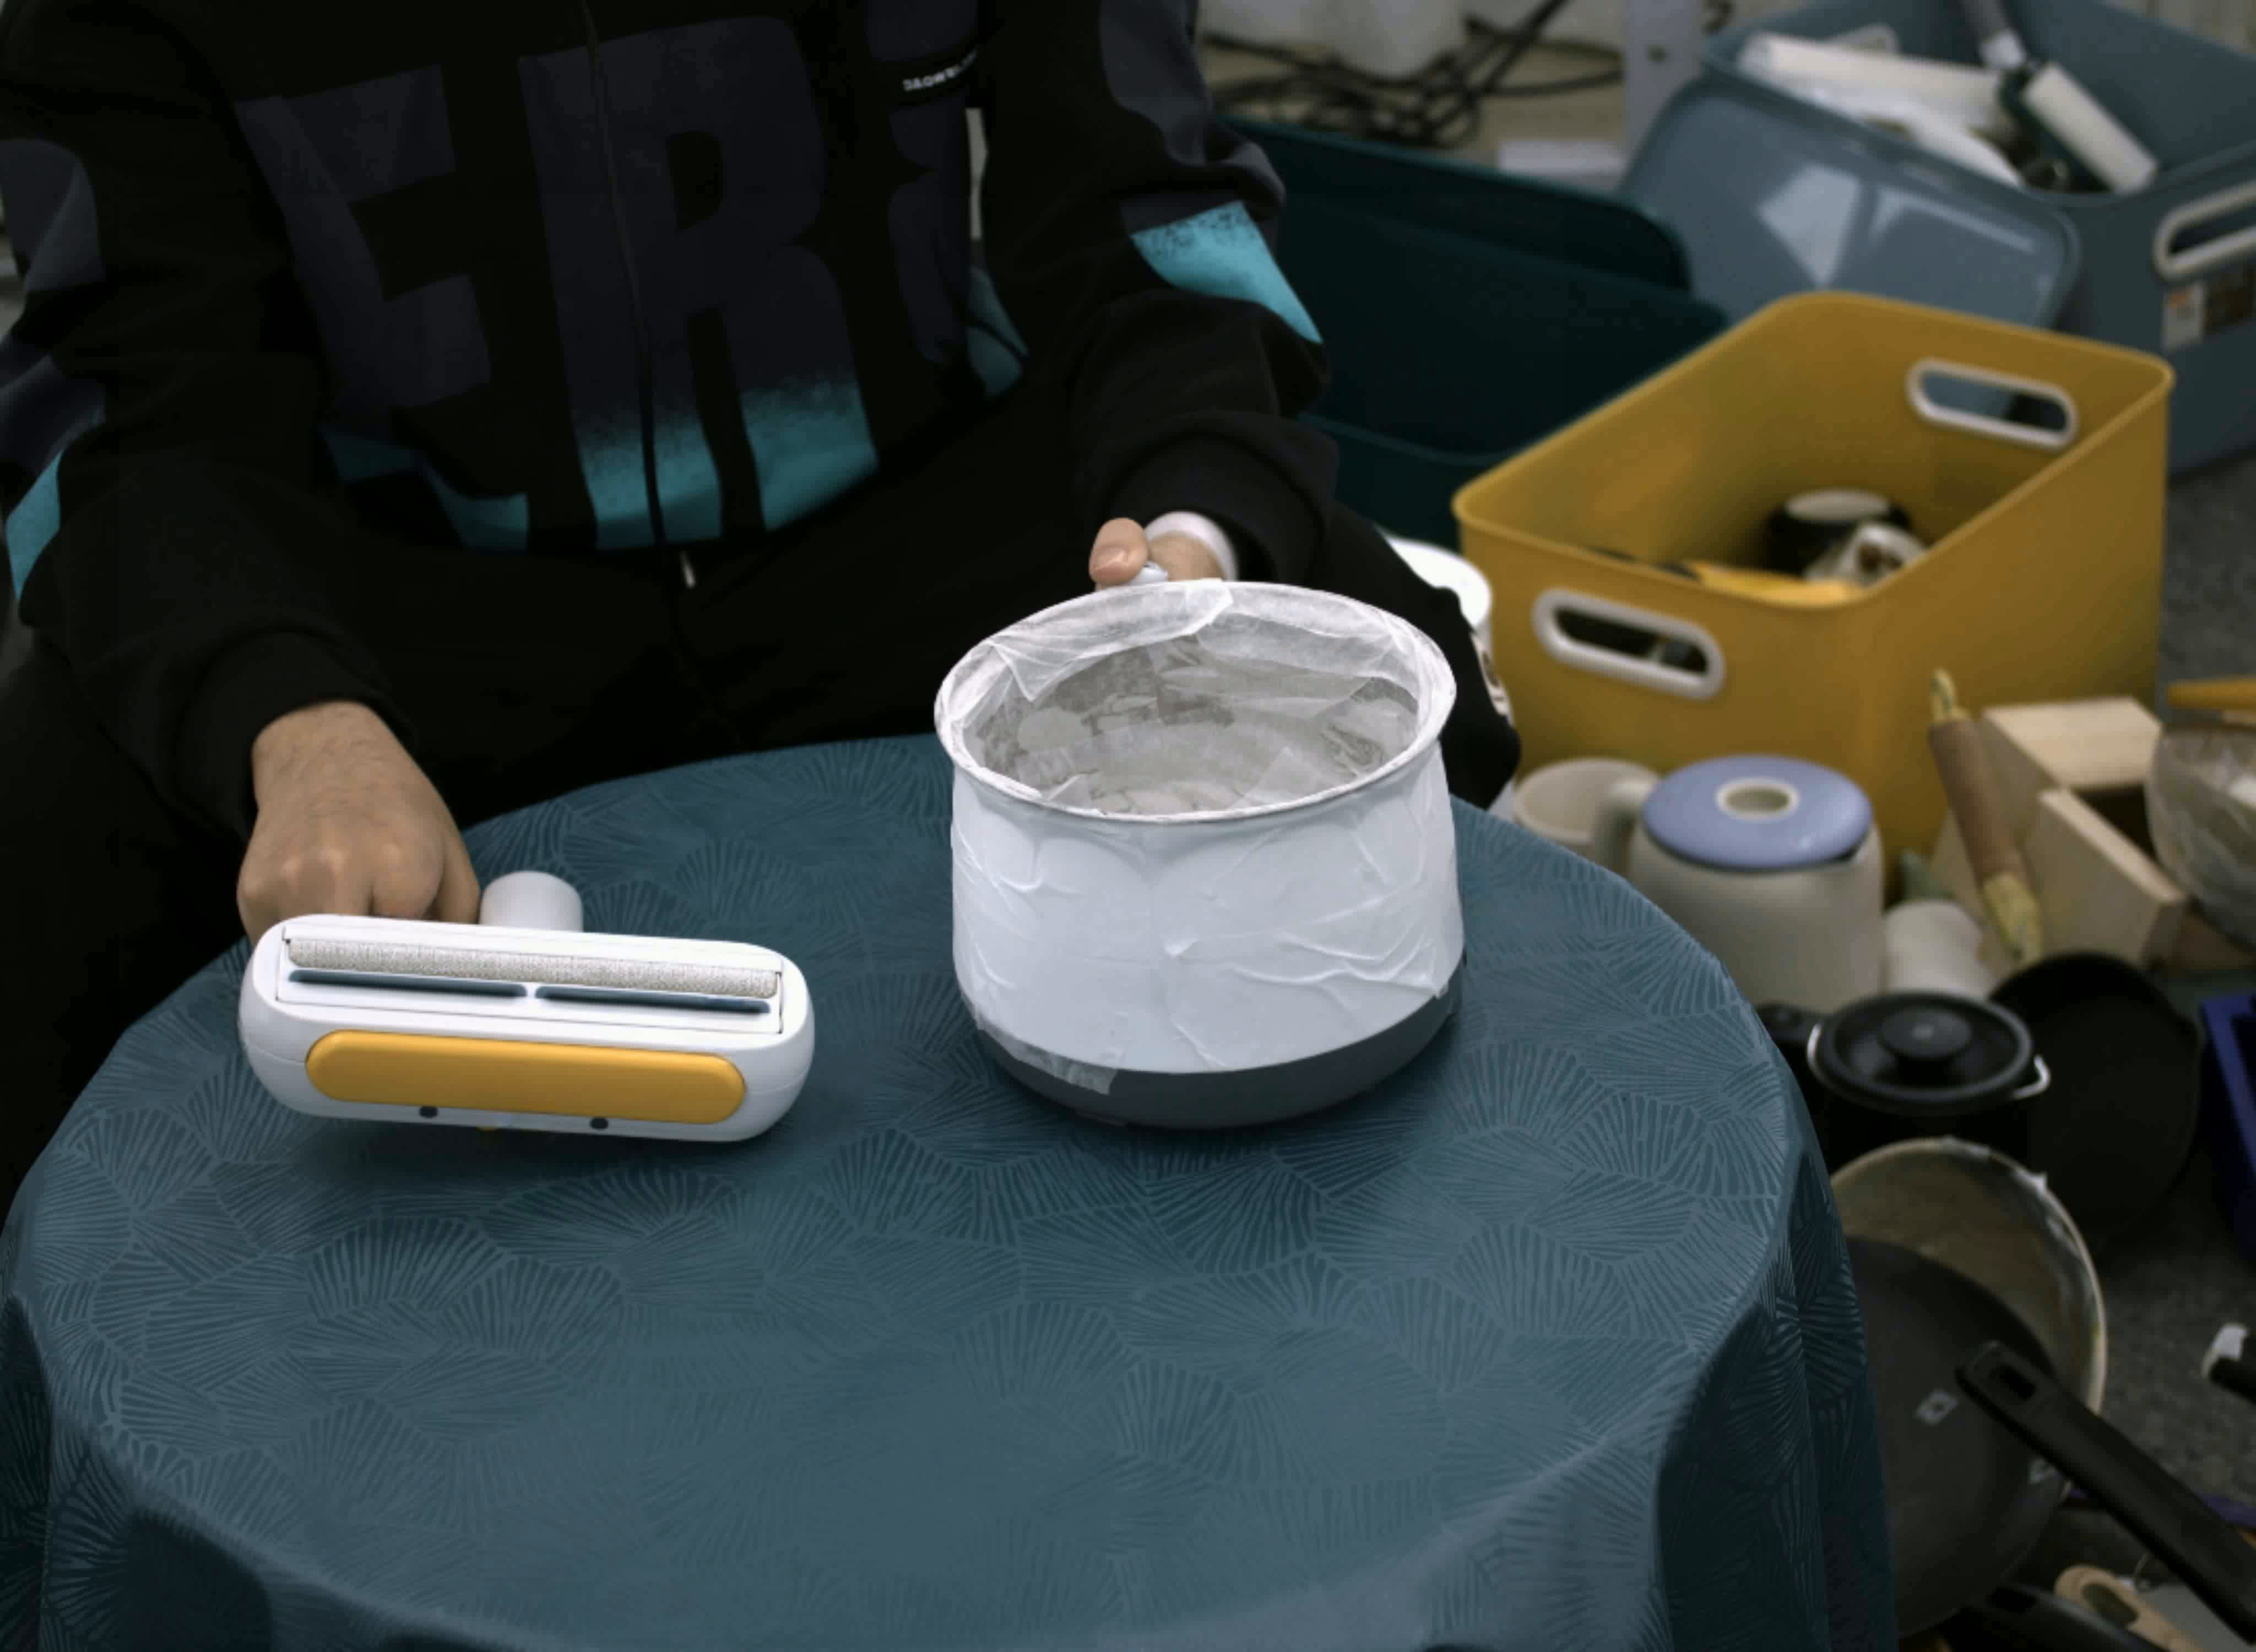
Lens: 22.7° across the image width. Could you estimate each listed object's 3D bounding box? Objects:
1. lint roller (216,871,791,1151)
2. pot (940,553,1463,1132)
[{"bbox_3d":[-0.211,0.050,1.948,0.192,0.073,0.195,2,25,-2],"label":"lint roller"},{"bbox_3d":[0.021,-0.002,1.945,0.178,0.135,0.236,-6,28,-10],"label":"pot"}]
